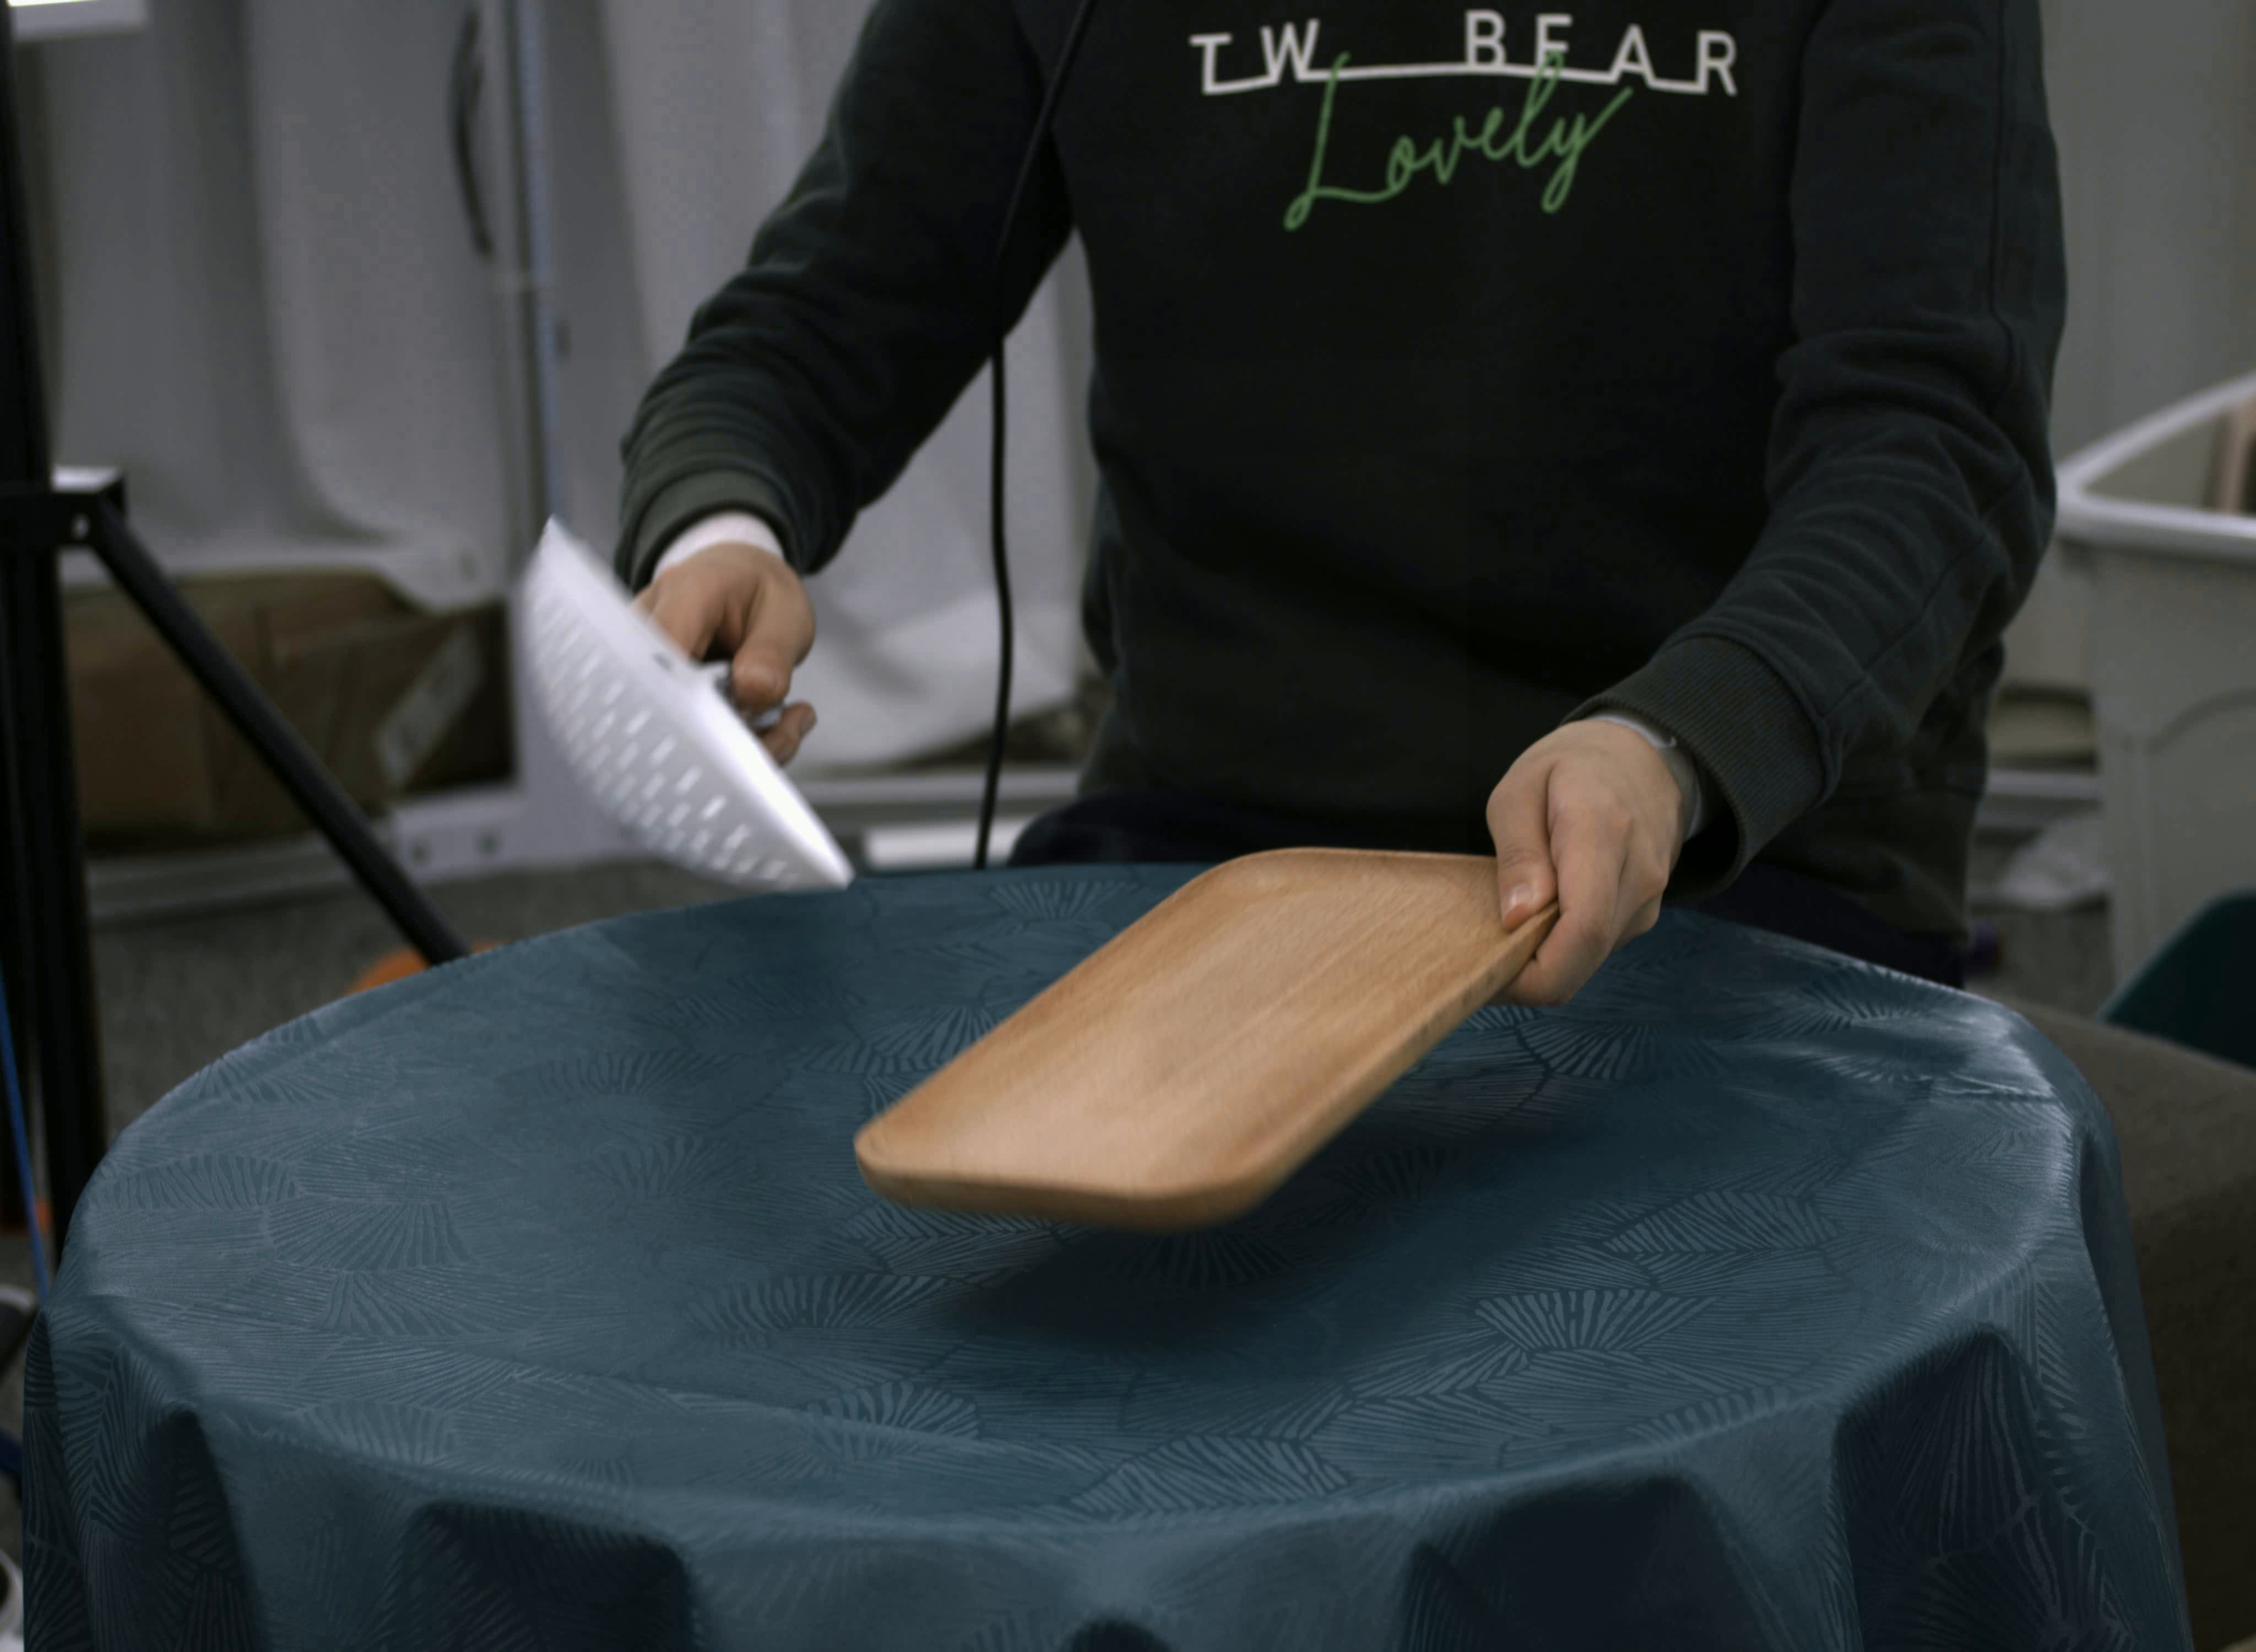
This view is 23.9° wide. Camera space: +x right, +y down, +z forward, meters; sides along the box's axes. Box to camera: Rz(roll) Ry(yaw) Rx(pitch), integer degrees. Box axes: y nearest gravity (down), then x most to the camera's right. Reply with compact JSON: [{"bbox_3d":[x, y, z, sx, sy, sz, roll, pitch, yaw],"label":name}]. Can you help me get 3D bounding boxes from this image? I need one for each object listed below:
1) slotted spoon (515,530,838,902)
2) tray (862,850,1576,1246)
[{"bbox_3d":[-0.130,-0.032,1.642,0.046,0.136,0.348,-40,1,7],"label":"slotted spoon"},{"bbox_3d":[0.031,0.061,1.526,0.133,0.023,0.247,5,23,29],"label":"tray"}]
